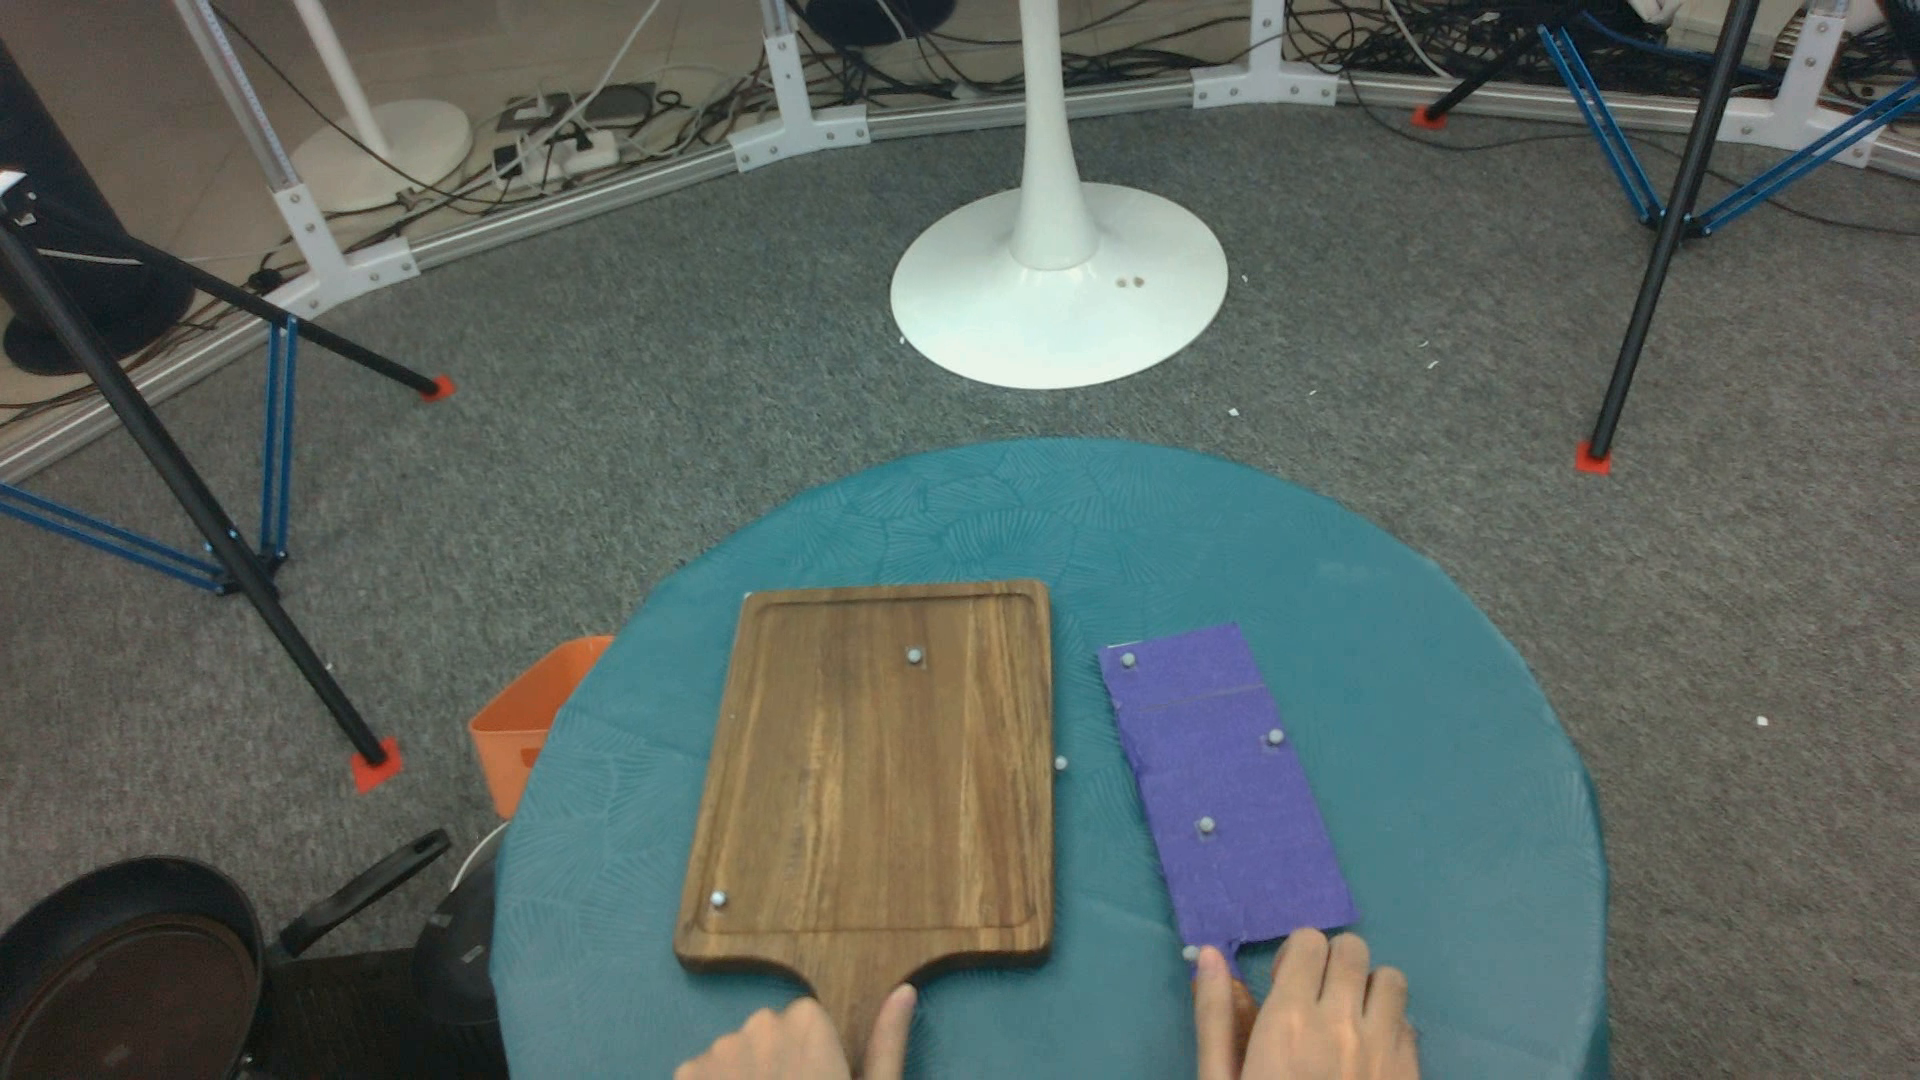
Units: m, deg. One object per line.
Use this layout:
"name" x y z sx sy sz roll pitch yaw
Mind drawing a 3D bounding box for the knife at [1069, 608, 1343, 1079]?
"knife" 0.143 0.154 0.725 0.104 0.032 0.316 -11 47 -3

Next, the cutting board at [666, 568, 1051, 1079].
"cutting board" -0.052 0.154 0.750 0.201 0.023 0.354 -3 47 5
